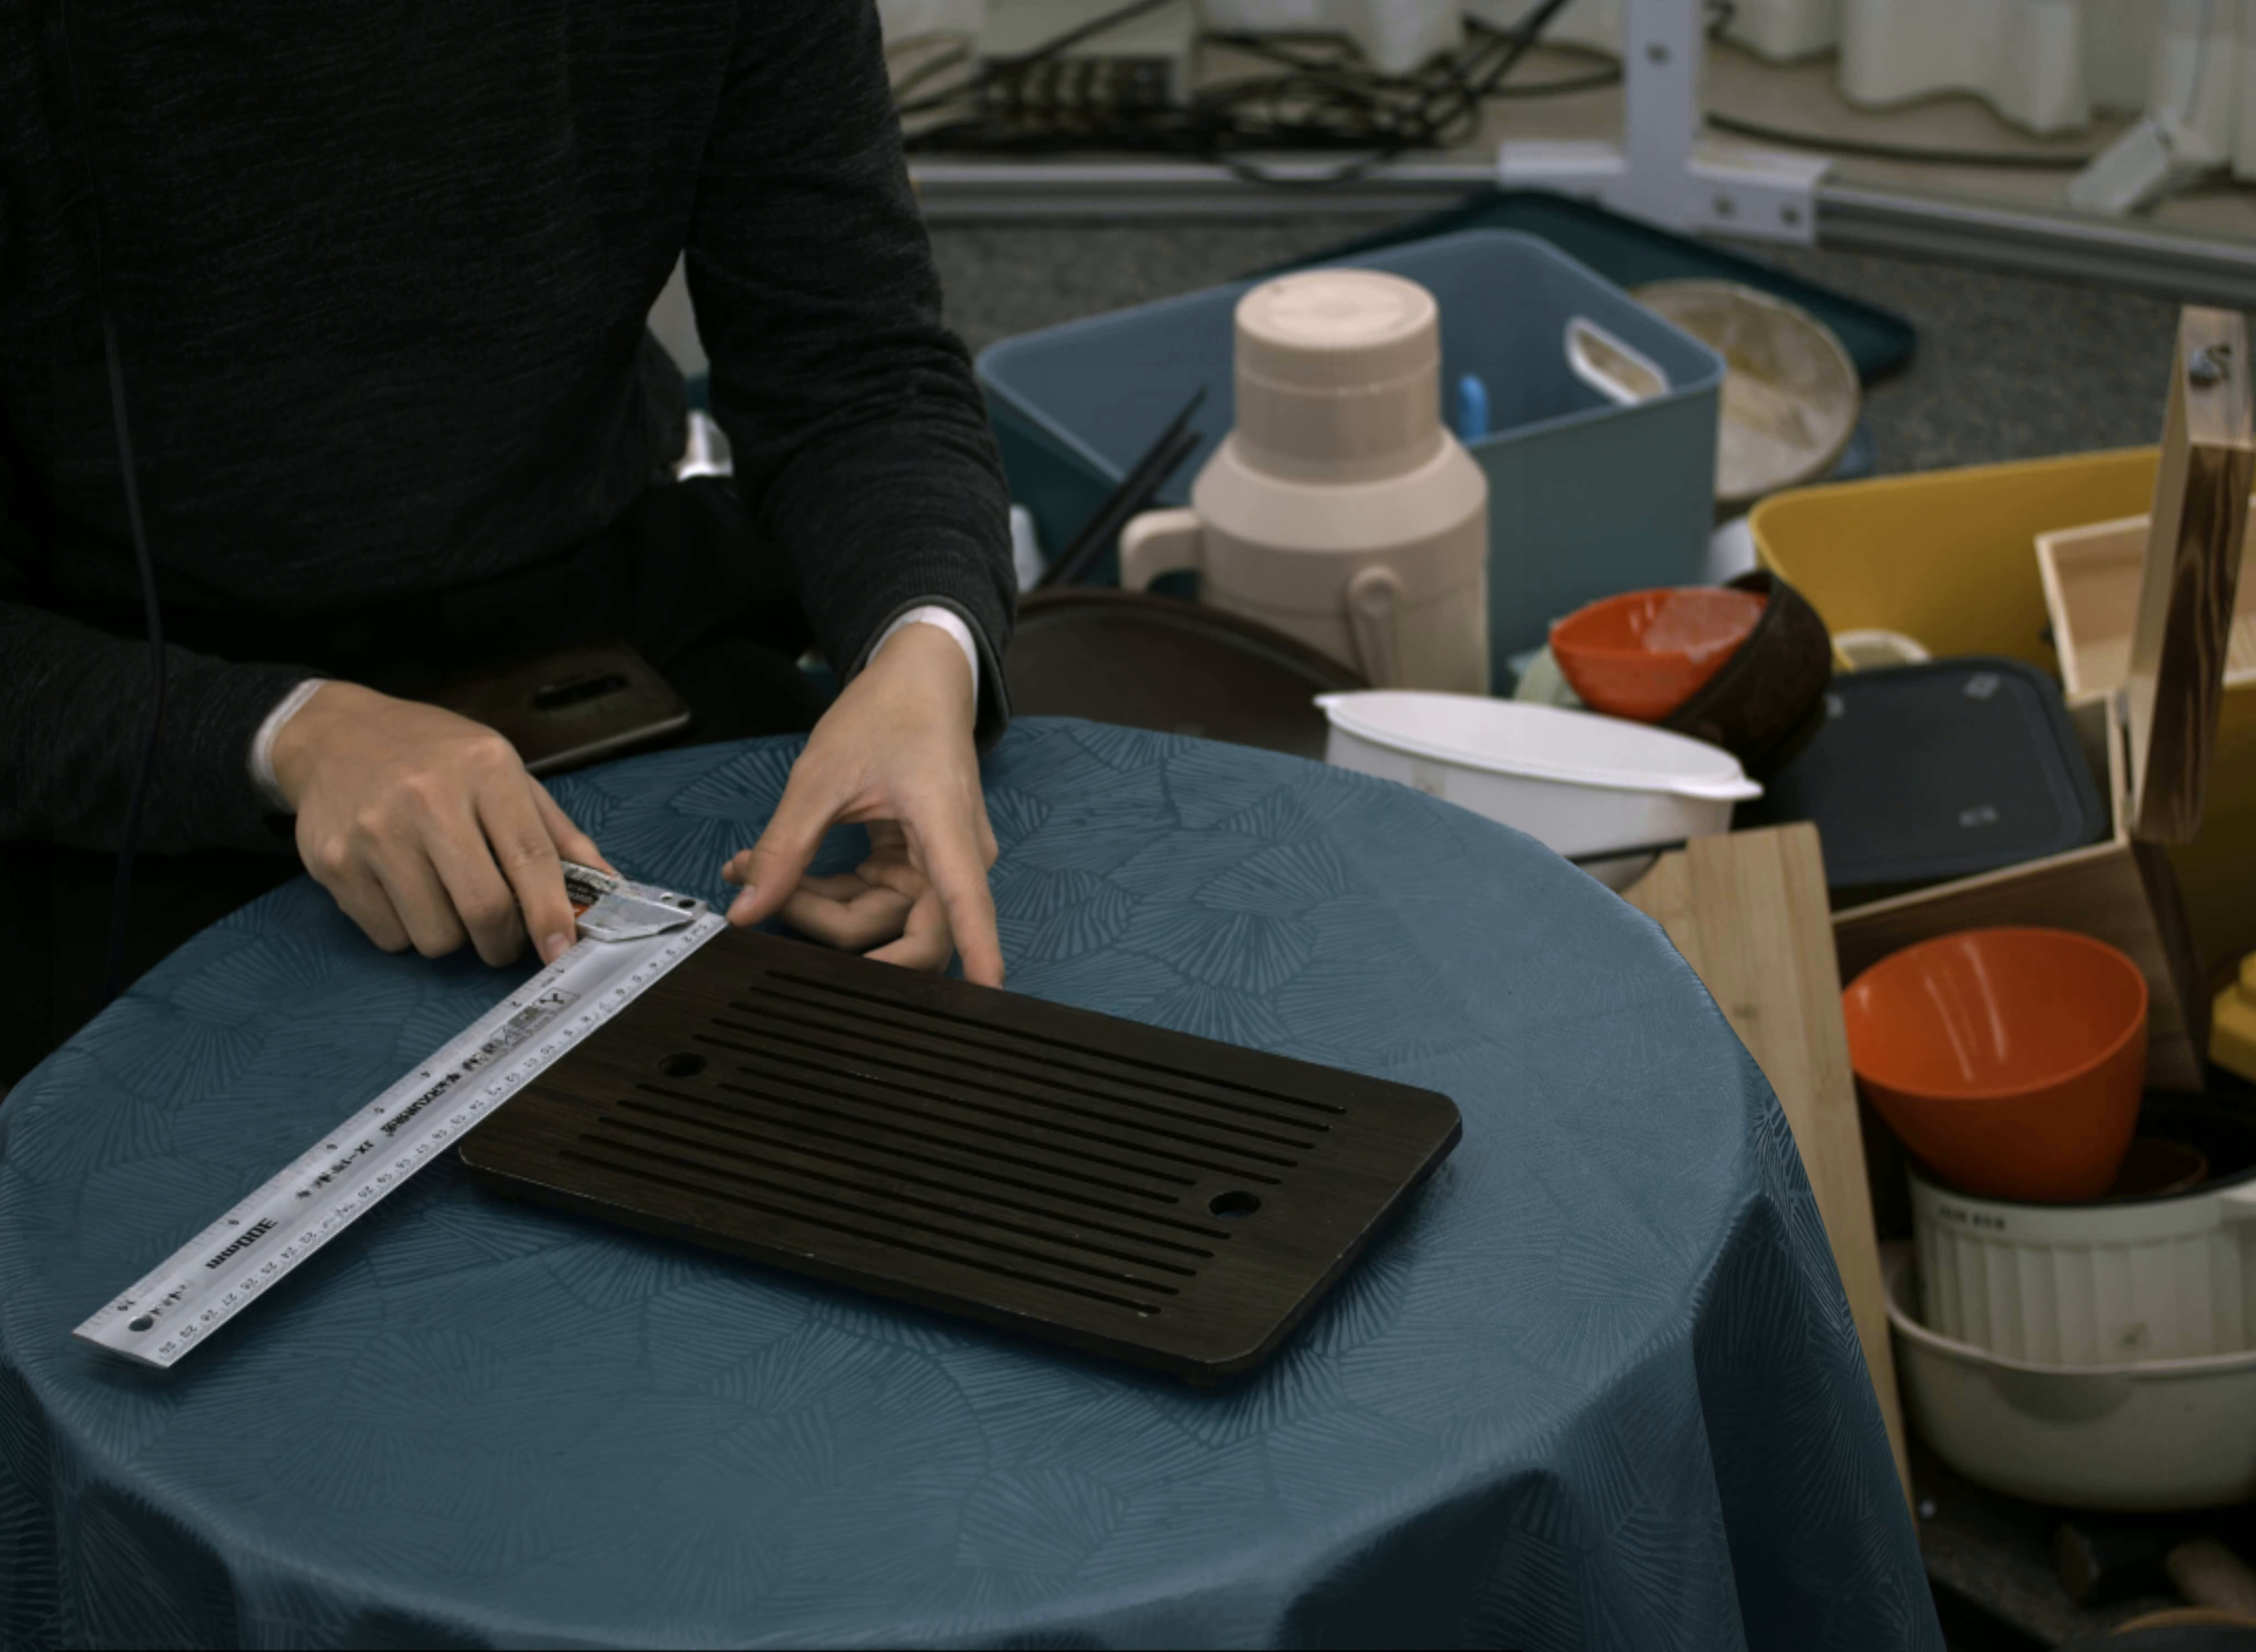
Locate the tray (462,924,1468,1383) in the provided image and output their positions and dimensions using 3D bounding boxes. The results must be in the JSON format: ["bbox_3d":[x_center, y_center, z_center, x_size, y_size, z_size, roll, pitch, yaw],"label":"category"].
[{"bbox_3d":[-0.055,0.107,1.872,0.304,0.018,0.173,12,33,27],"label":"tray"}]

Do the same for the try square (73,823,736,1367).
[{"bbox_3d":[-0.282,0.087,1.921,0.151,0.016,0.318,13,33,29],"label":"try square"}]
